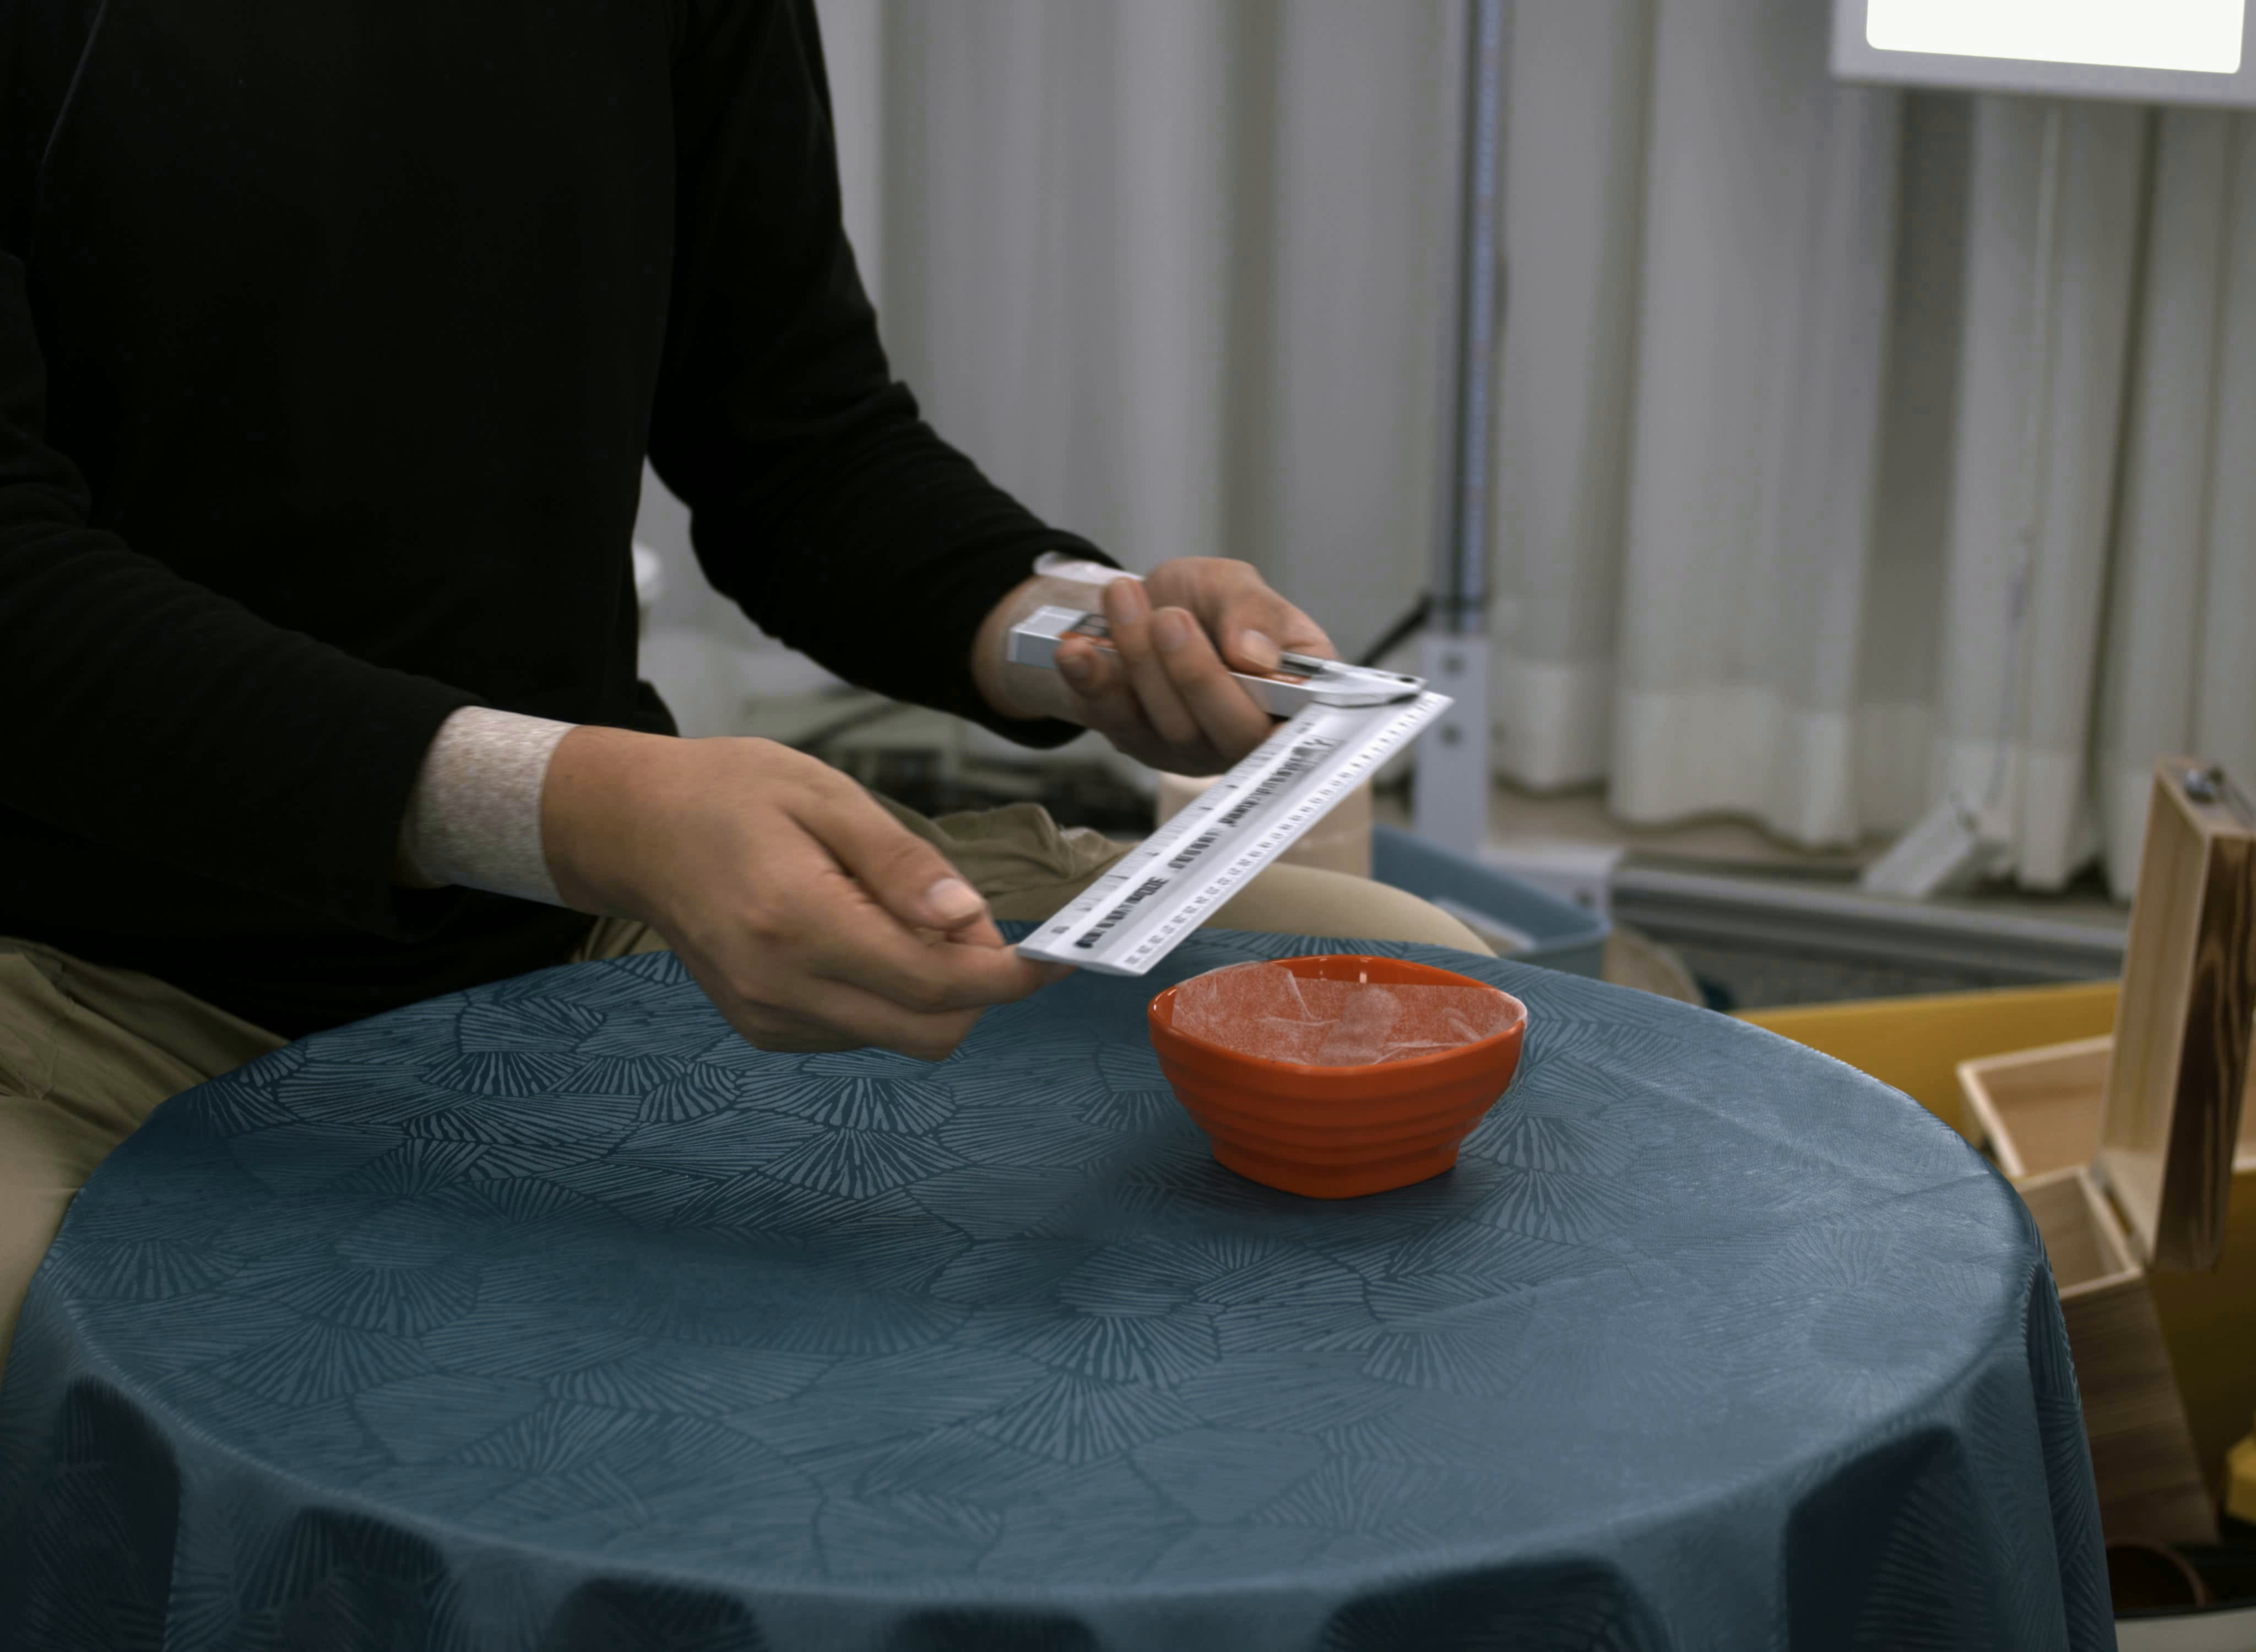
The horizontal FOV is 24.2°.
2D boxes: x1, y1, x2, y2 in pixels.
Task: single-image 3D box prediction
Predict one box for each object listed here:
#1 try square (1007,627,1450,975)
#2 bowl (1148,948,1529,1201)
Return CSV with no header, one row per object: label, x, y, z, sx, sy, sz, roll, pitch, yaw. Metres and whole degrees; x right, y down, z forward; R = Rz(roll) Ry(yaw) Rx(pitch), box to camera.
try square,-0.012,-0.011,1.688,0.151,0.016,0.313,8,19,18
bowl,0.065,0.079,1.643,0.118,0.052,0.118,0,18,1
